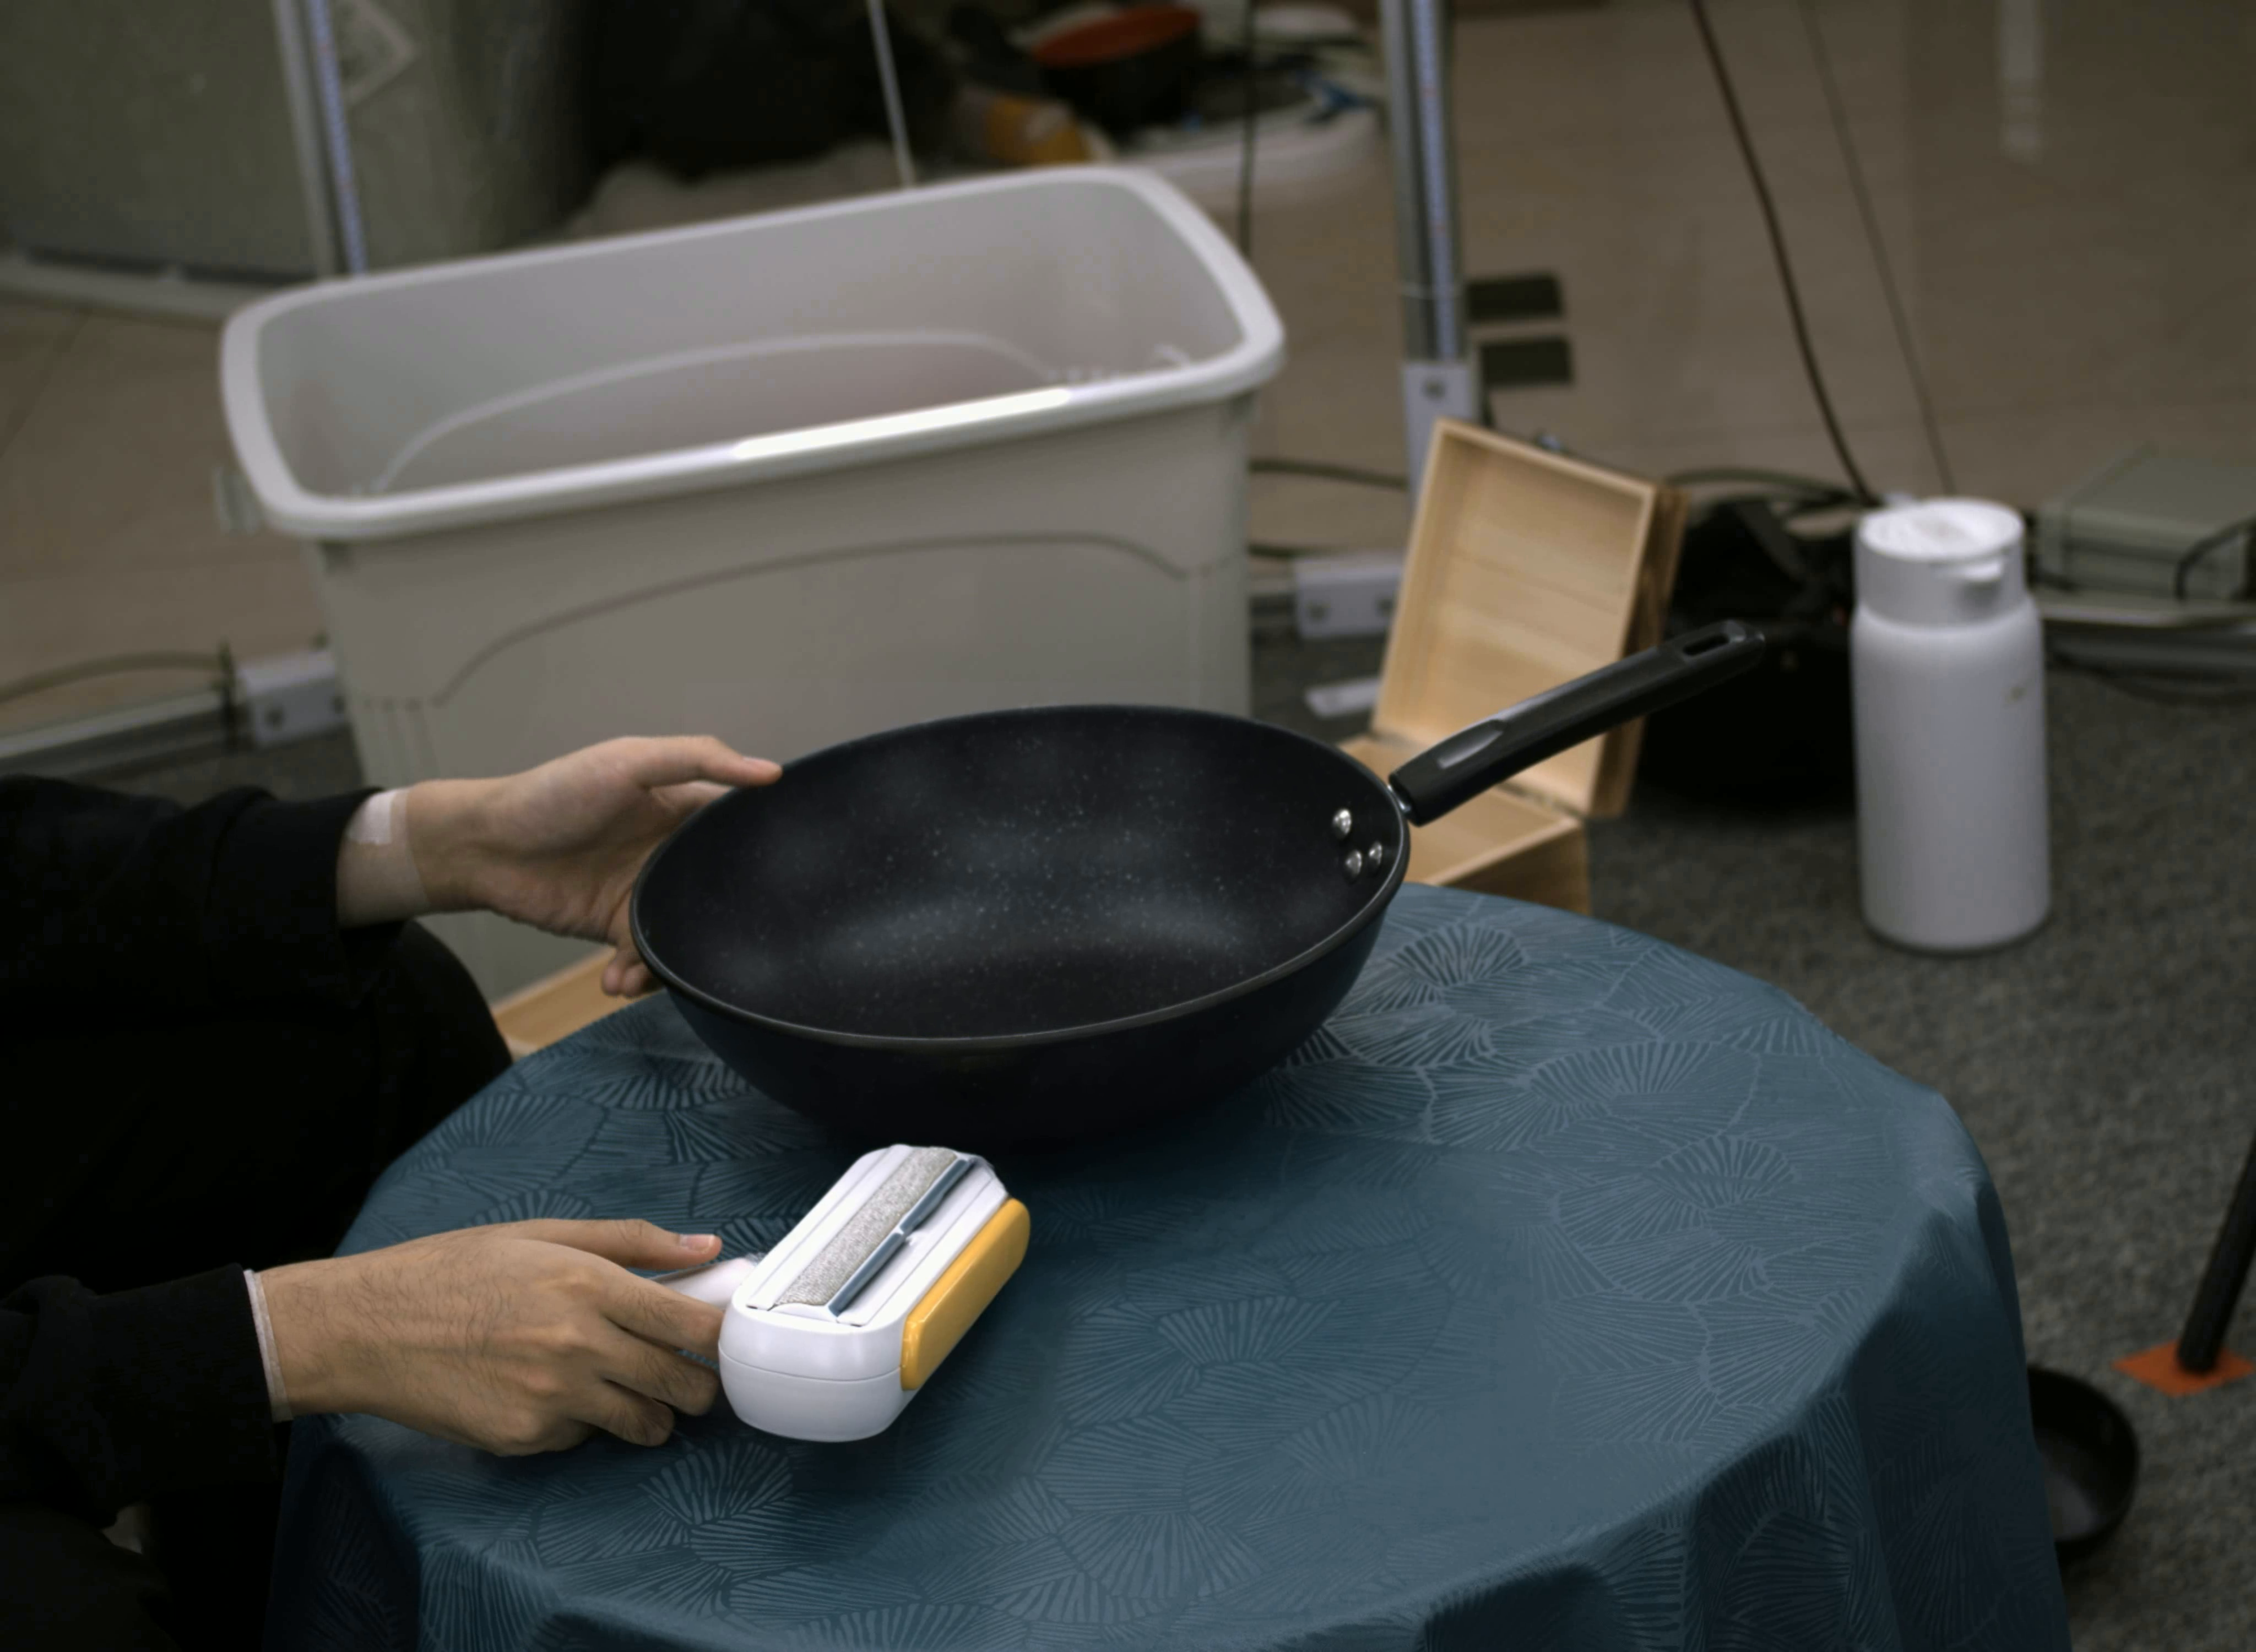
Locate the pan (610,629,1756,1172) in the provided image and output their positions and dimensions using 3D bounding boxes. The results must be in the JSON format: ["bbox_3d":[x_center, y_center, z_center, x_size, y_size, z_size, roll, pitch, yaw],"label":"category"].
[{"bbox_3d":[0.032,0.026,2.250,0.475,0.113,0.306,-14,28,-14],"label":"pan"}]

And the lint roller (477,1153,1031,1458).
[{"bbox_3d":[-0.146,0.172,2.028,0.192,0.075,0.190,1,21,19],"label":"lint roller"}]
